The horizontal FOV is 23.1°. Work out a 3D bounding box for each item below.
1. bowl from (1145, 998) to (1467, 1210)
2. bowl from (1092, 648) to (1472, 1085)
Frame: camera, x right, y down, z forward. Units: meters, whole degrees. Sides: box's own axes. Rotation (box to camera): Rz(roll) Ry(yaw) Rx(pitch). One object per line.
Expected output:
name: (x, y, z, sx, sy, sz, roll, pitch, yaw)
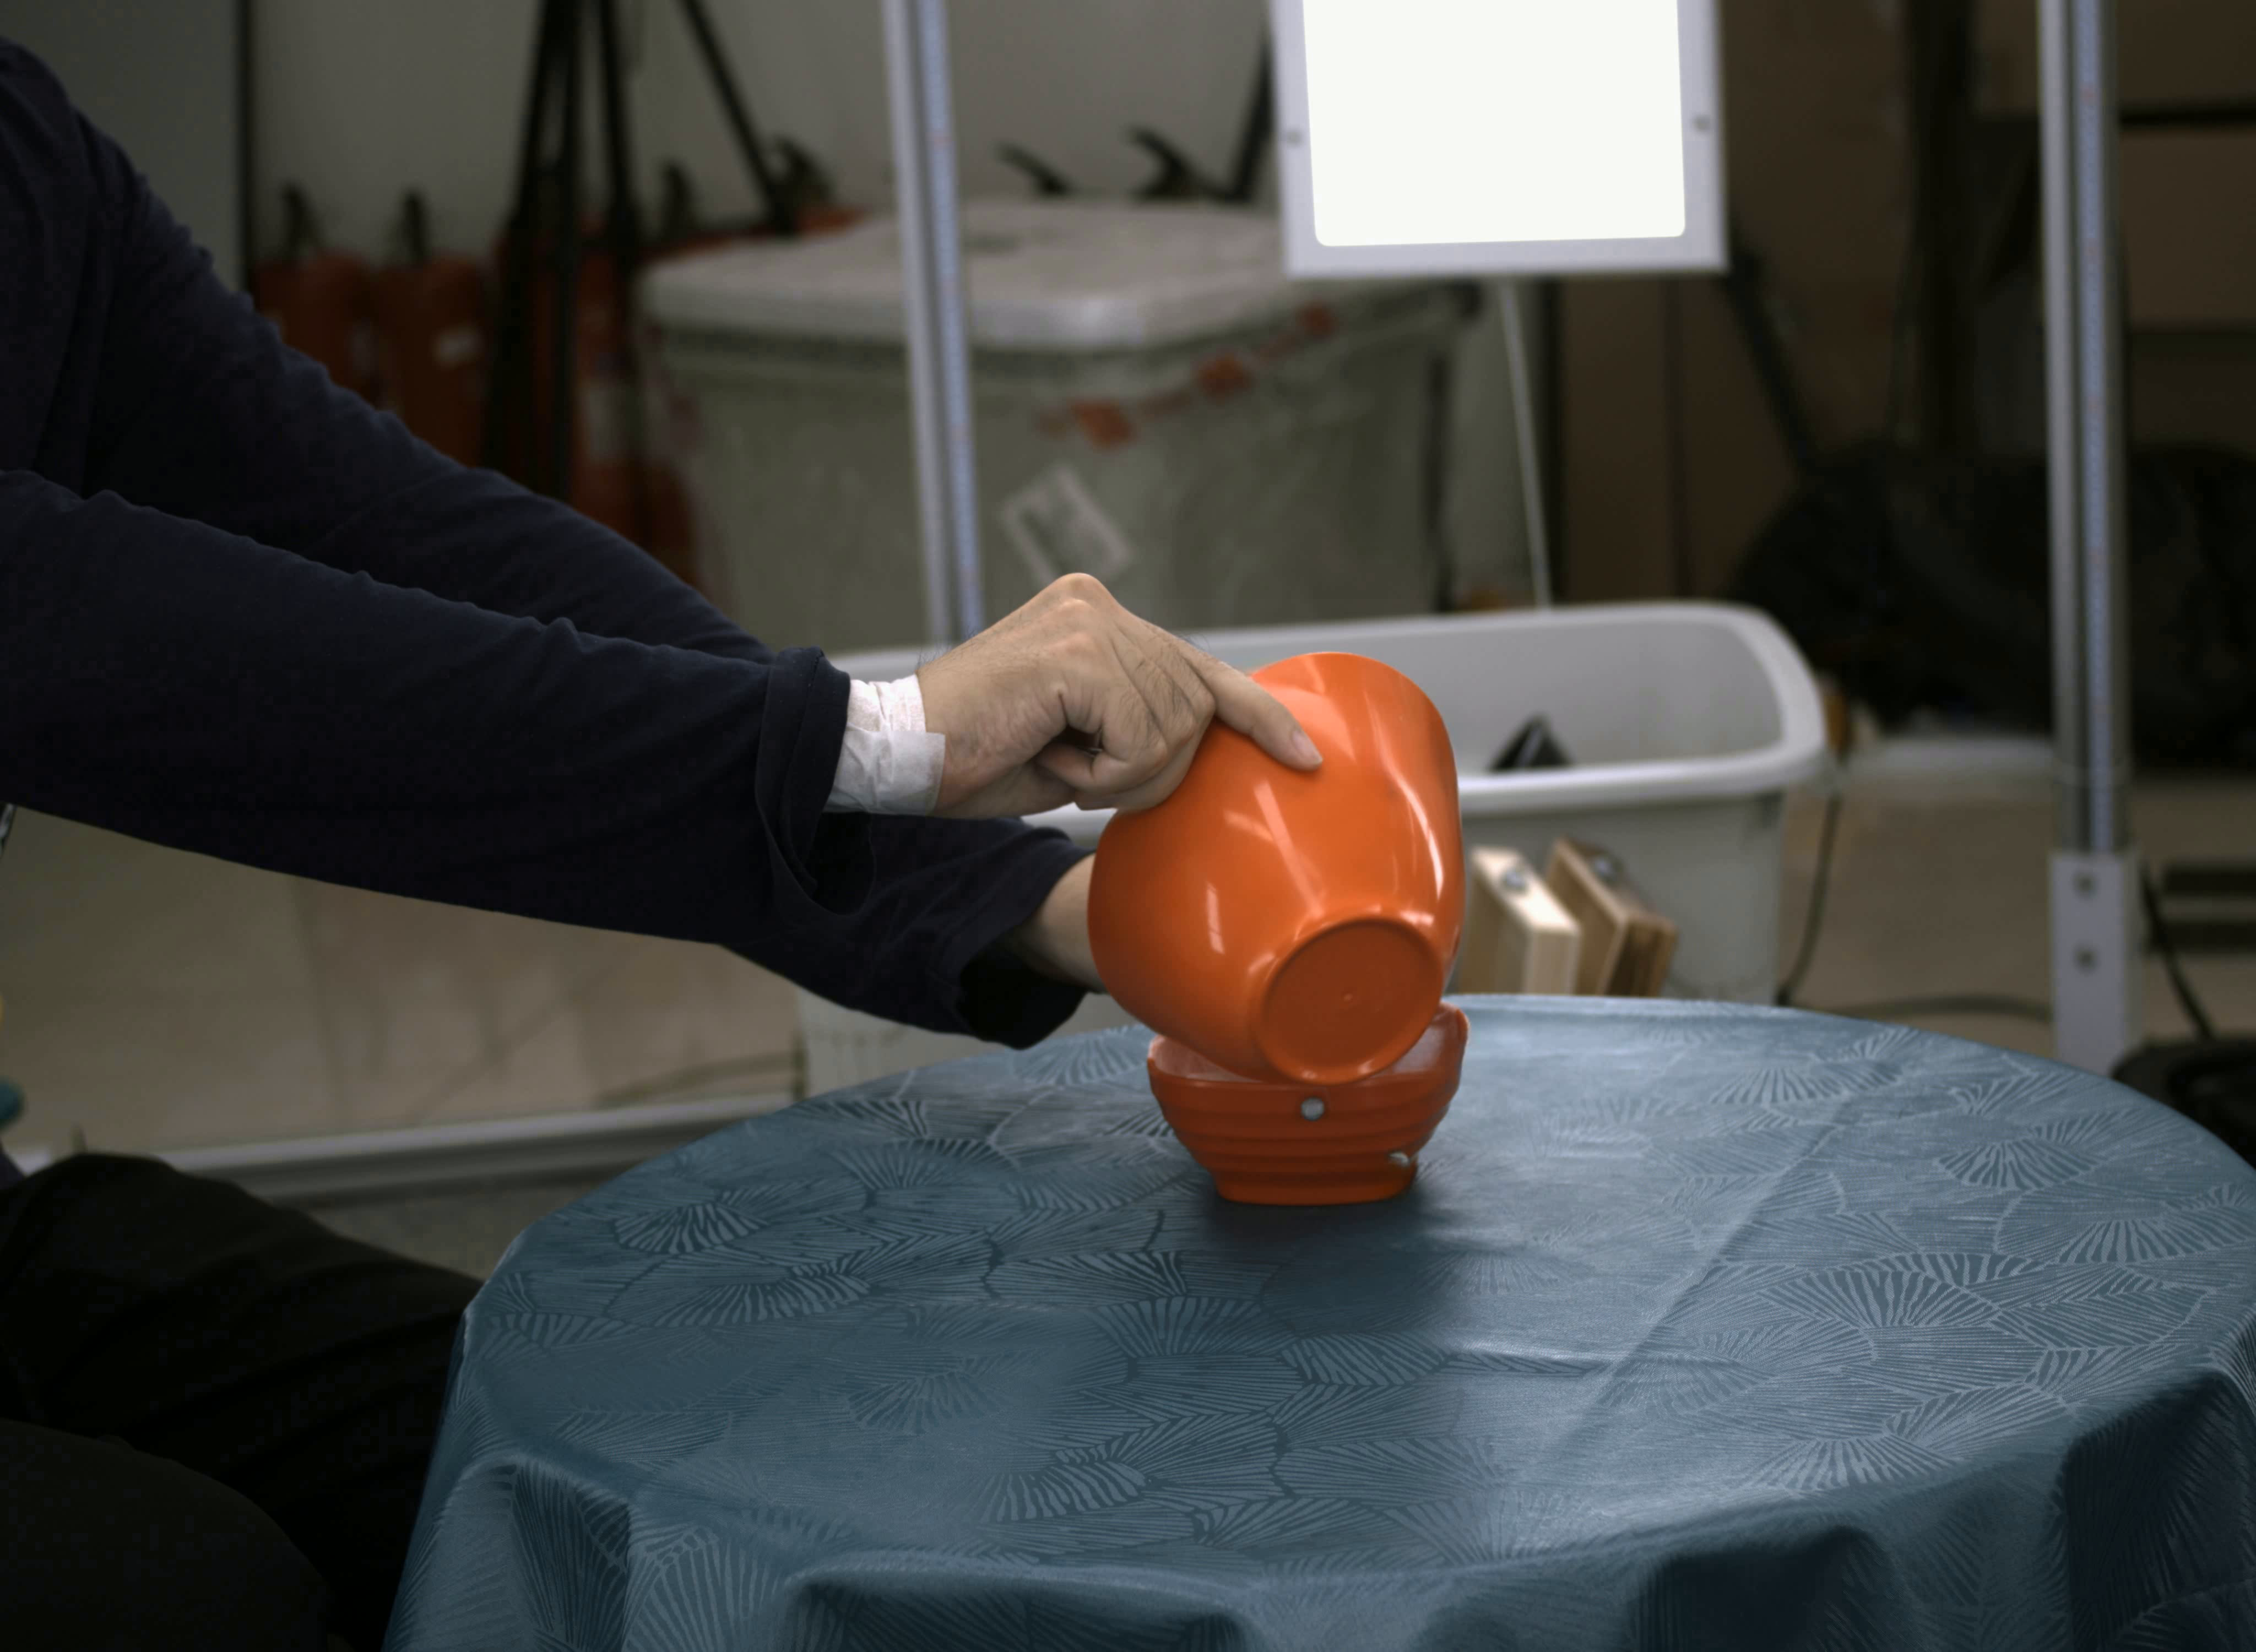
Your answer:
bowl: (0.064, 0.098, 1.897, 0.118, 0.051, 0.119, -7, 15, 0)
bowl: (0.067, 0.027, 1.832, 0.145, 0.149, 0.106, -9, 32, -19)
